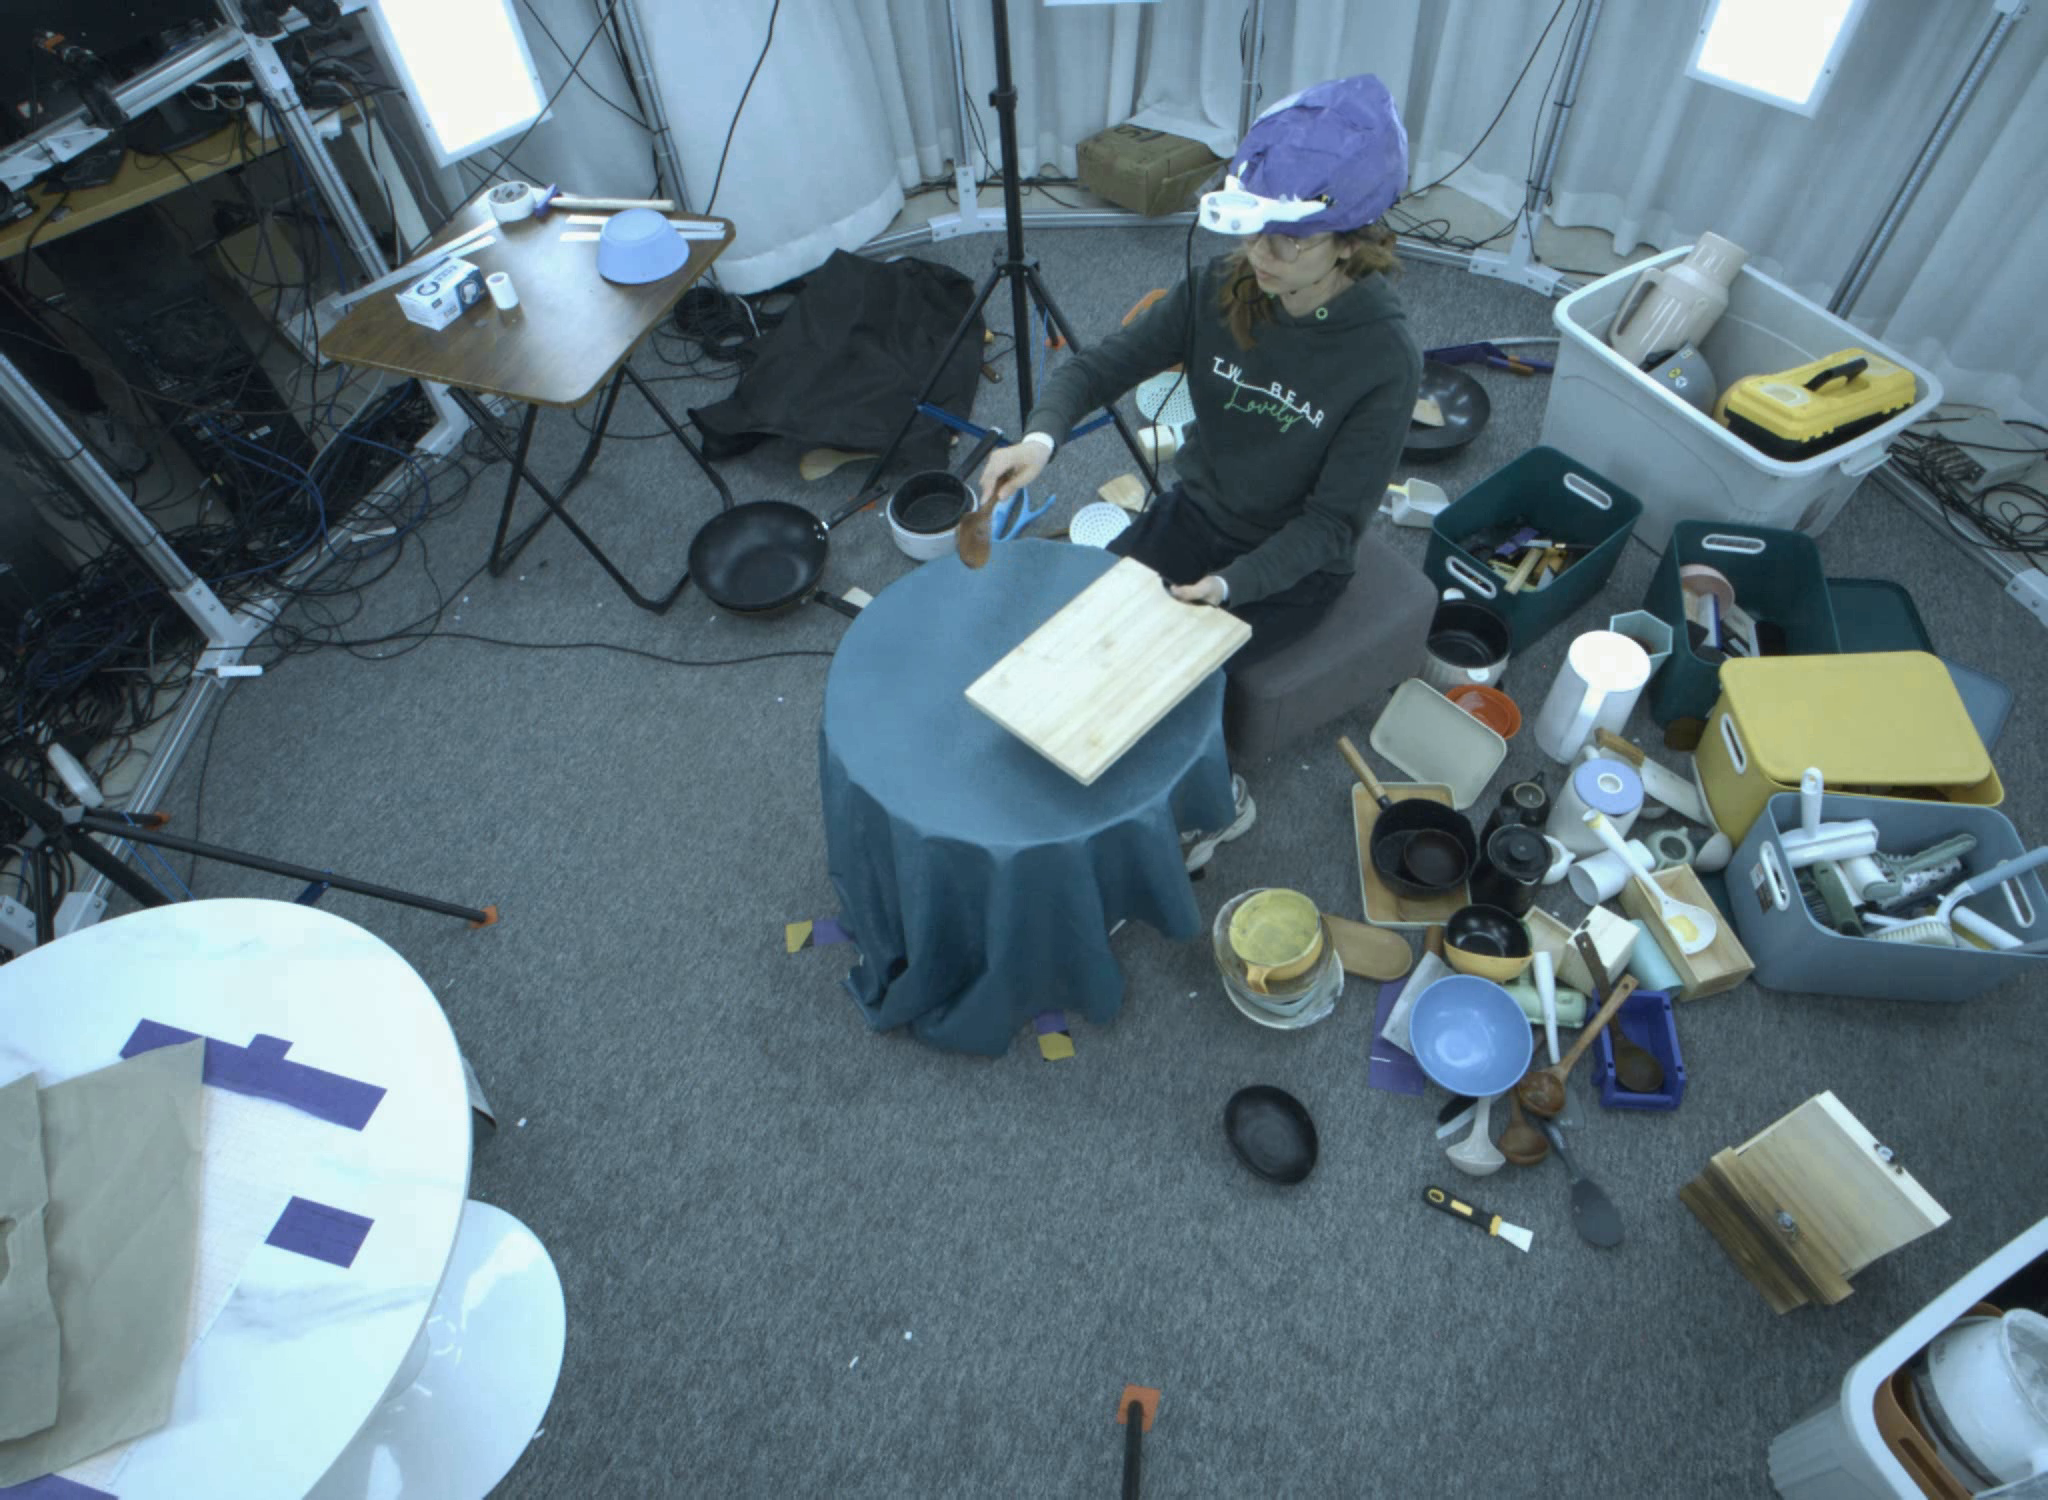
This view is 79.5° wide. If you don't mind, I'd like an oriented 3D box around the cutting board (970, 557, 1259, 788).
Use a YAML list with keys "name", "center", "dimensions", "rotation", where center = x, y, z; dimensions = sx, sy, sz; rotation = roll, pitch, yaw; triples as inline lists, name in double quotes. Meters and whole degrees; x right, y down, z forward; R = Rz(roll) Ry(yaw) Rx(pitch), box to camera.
- name: "cutting board"
  center: [0.126, -0.120, 1.738]
  dimensions: [0.246, 0.024, 0.350]
  rotation: [36, 66, 28]

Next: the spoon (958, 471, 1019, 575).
- name: "spoon"
  center: [-0.048, -0.329, 1.740]
  dimensions: [0.017, 0.077, 0.215]
  rotation: [-12, 41, 36]
